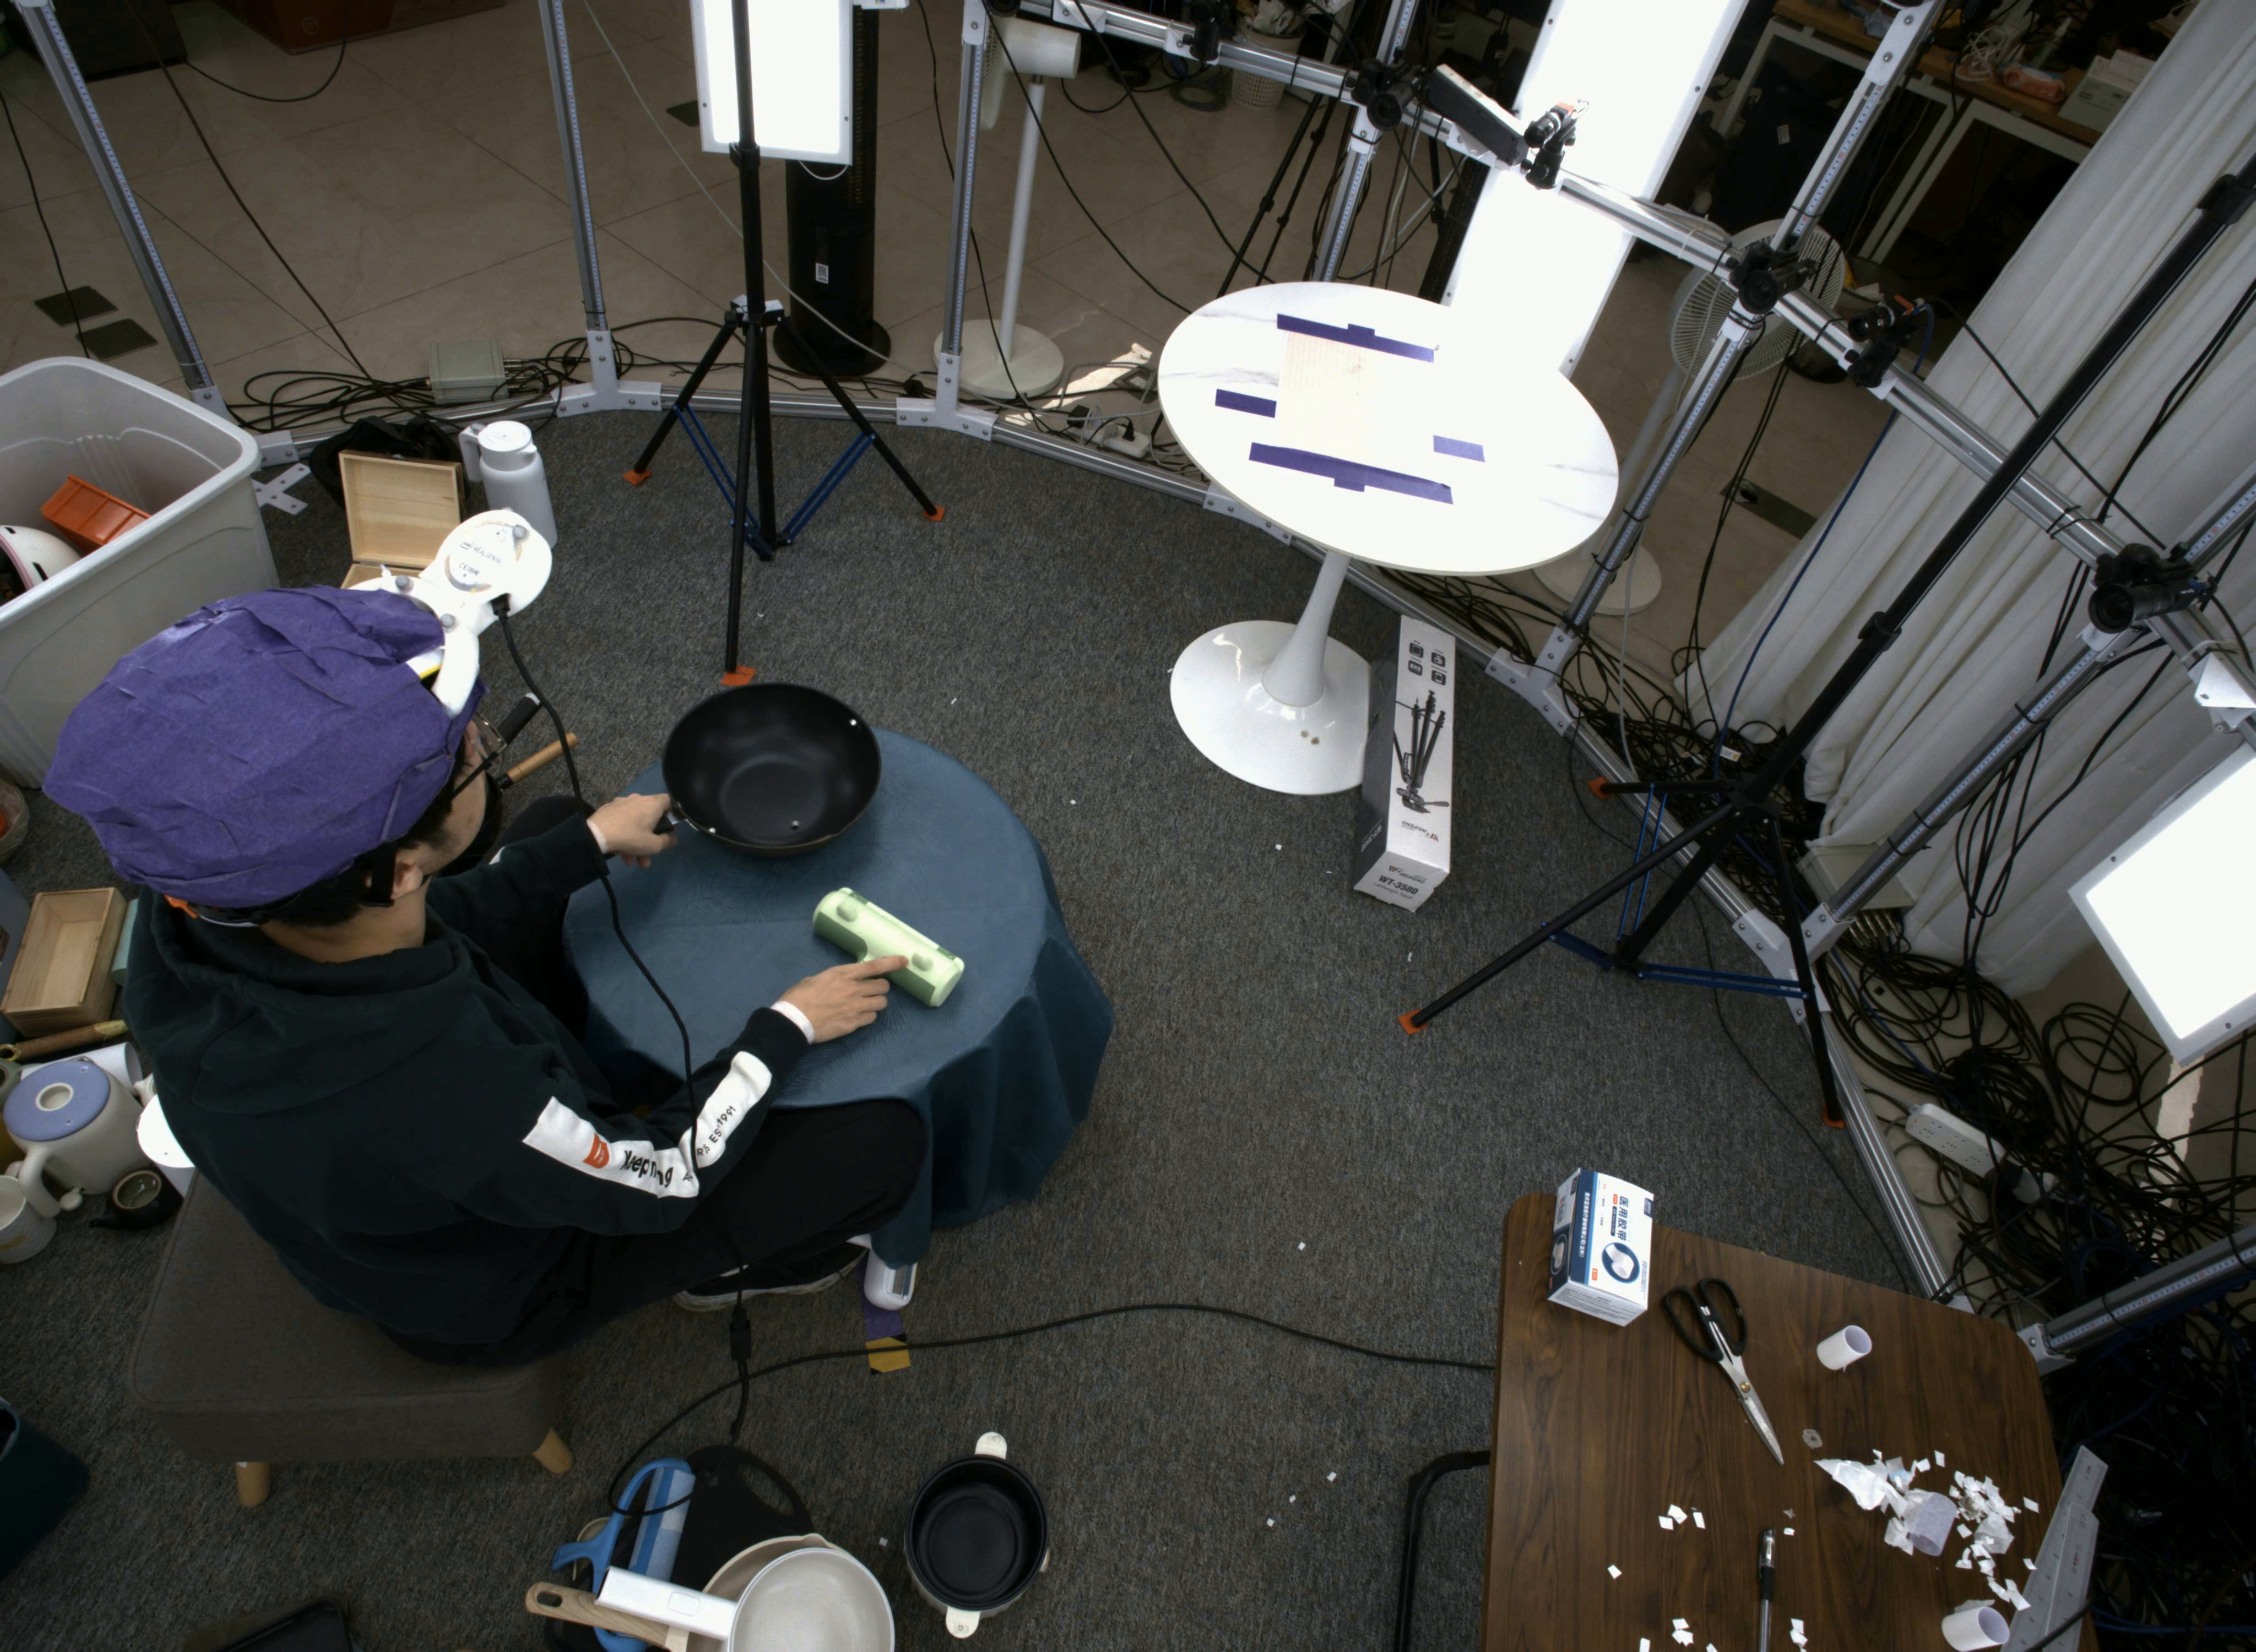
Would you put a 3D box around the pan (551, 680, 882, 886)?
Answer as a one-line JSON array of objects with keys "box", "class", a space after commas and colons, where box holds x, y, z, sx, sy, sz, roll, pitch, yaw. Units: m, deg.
[{"box": [-0.533, -0.020, 1.663, 0.464, 0.088, 0.281, -33, 67, -31], "class": "pan"}]

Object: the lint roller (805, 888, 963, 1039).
[{"box": [-0.328, 0.175, 1.577, 0.195, 0.084, 0.183, 32, 47, 10], "class": "lint roller"}]
